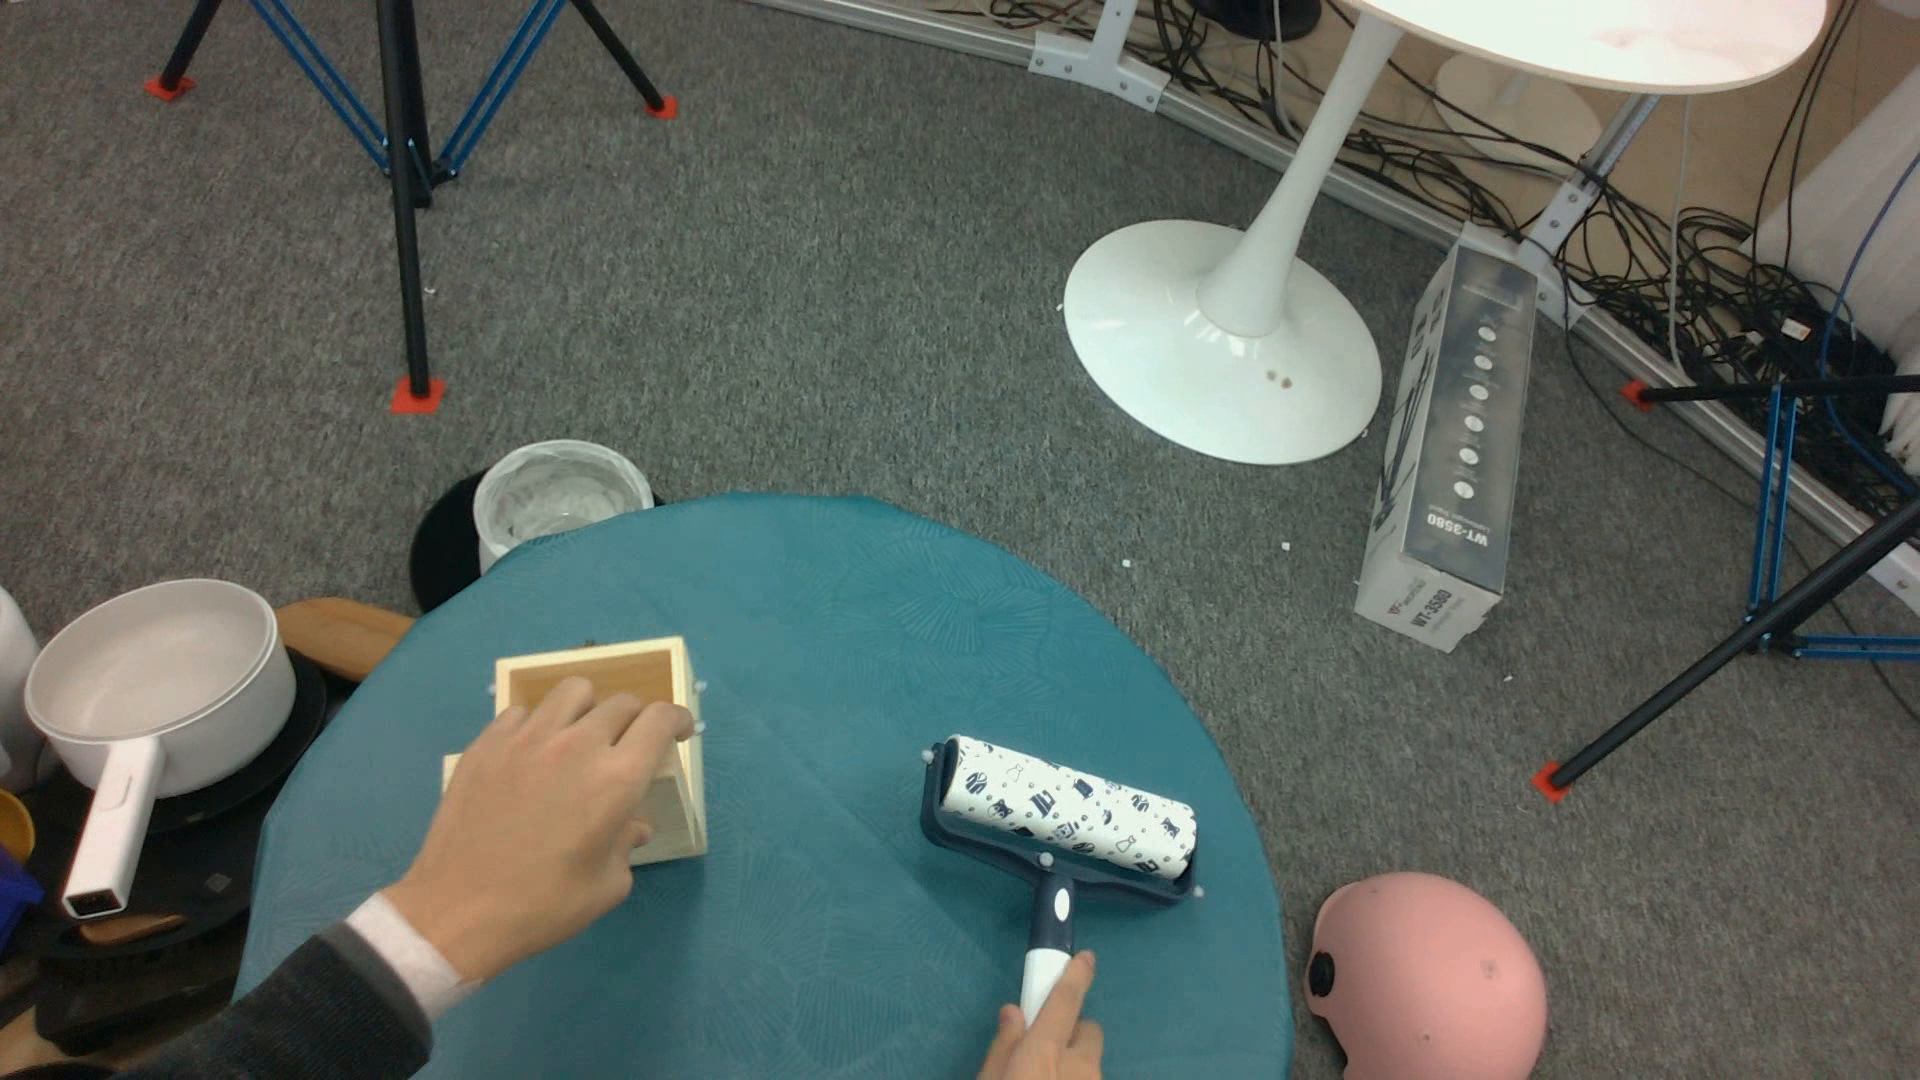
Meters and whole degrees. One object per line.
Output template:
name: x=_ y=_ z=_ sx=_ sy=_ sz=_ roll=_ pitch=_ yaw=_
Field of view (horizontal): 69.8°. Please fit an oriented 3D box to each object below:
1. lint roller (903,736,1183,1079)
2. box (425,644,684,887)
lint roller: x=0.042 y=0.243 z=0.783 sx=0.176 sy=0.050 sz=0.248 roll=18 pitch=51 yaw=-12
box: x=-0.209 y=0.106 z=0.728 sx=0.103 sy=0.183 sz=0.134 roll=-8 pitch=58 yaw=-11
